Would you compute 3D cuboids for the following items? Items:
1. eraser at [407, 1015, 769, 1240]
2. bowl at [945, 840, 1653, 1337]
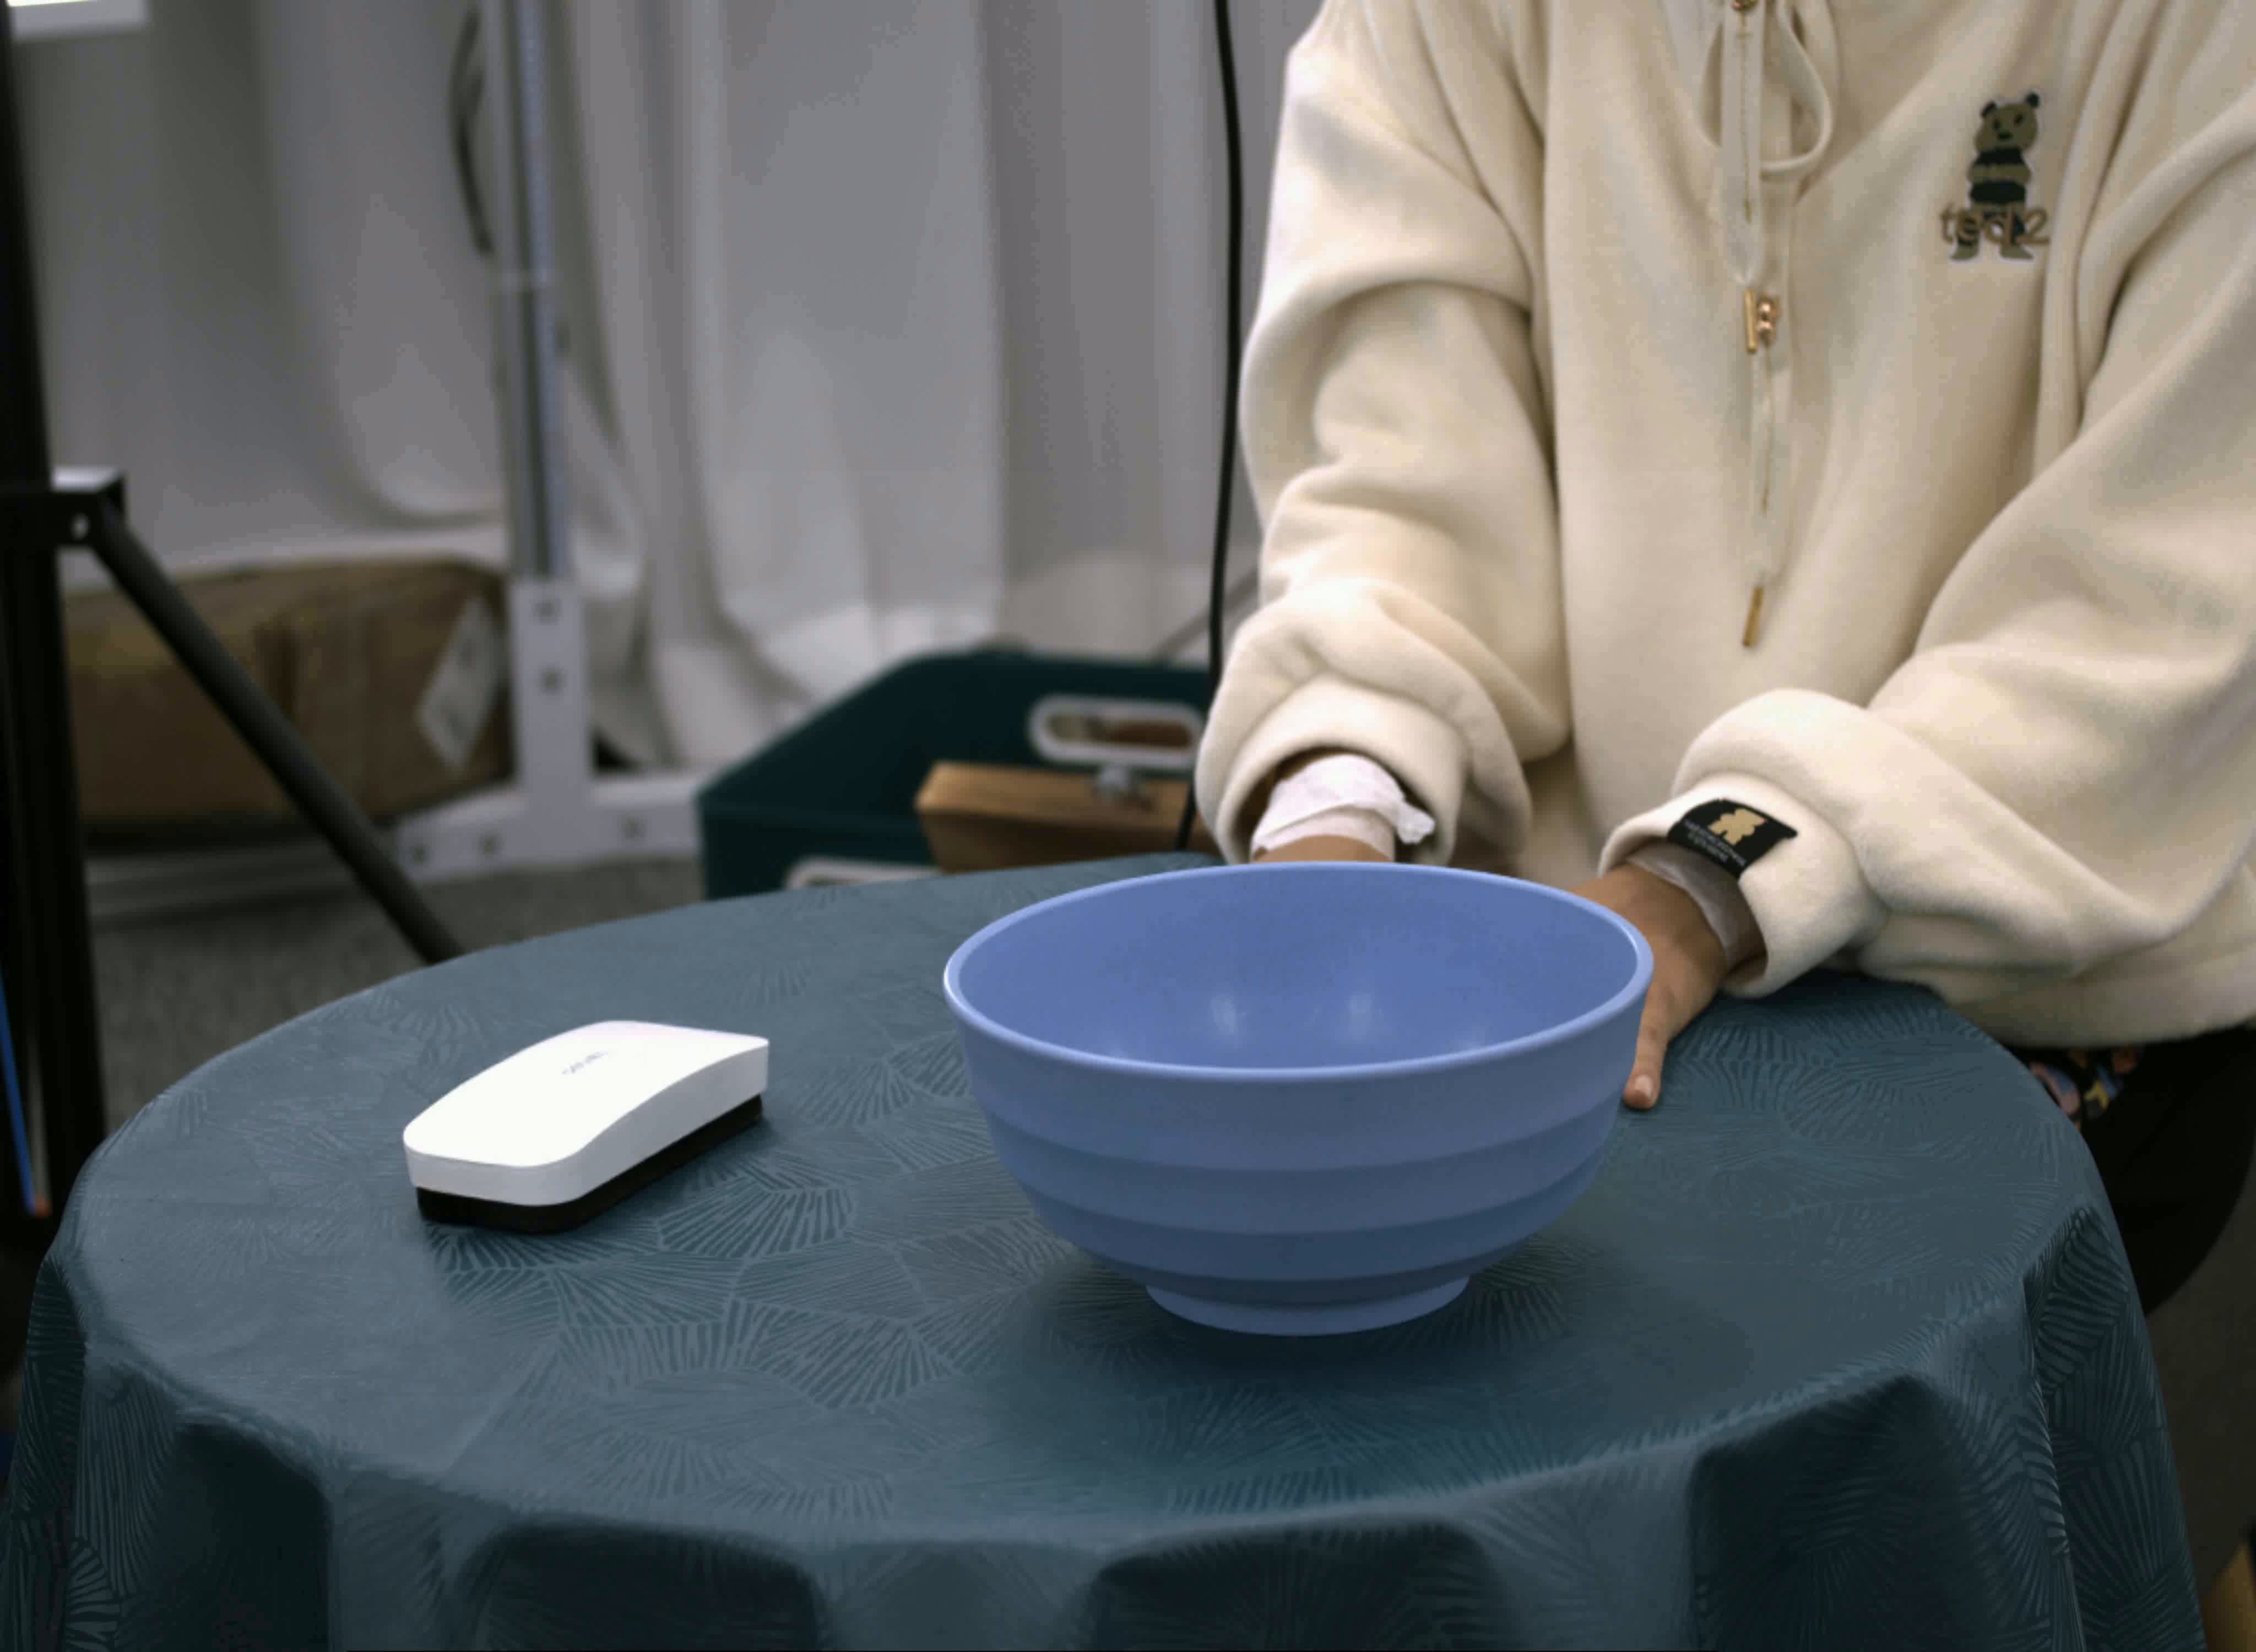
[{"bbox_3d":[-0.159,0.087,1.603,0.064,0.034,0.129,7,19,27],"label":"eraser"},{"bbox_3d":[0.052,0.080,1.476,0.196,0.095,0.197,-7,18,1],"label":"bowl"}]
